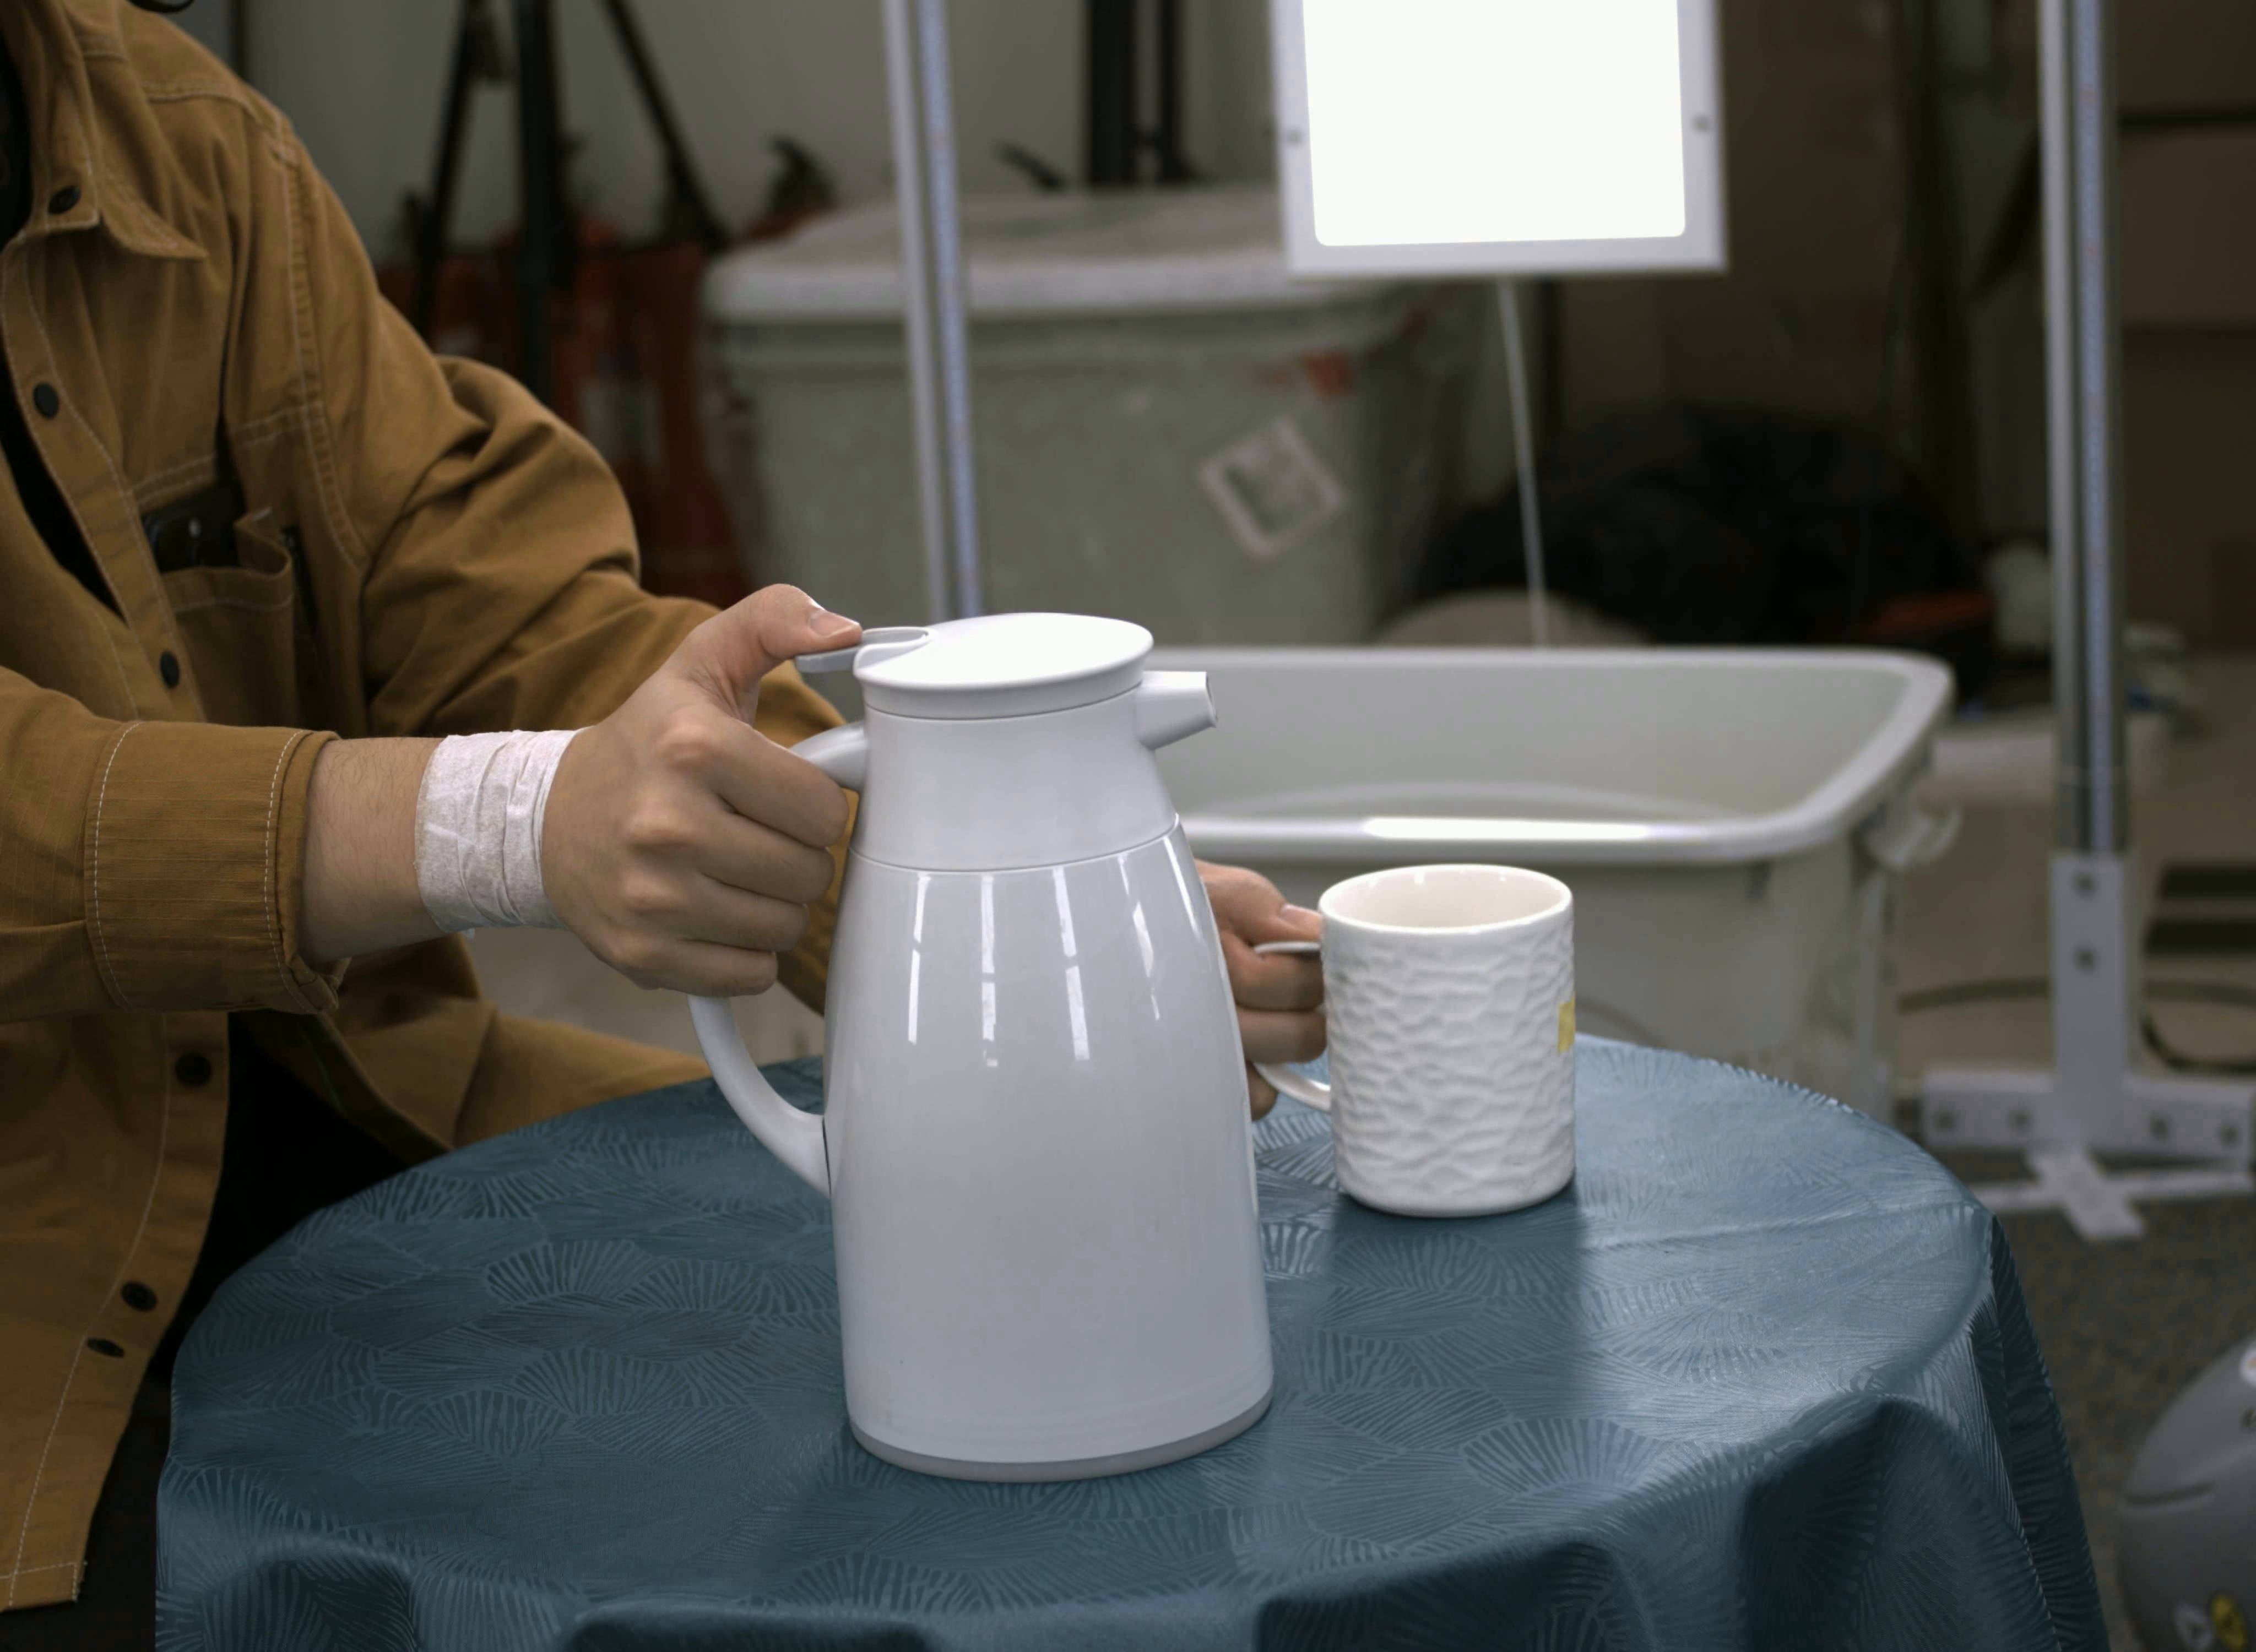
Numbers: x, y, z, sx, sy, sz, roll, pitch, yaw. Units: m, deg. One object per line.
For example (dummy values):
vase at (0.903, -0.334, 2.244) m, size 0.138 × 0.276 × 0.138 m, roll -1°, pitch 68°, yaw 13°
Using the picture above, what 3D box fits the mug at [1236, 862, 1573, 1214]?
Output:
mug at (0.094, 0.071, 1.868) m, size 0.120 × 0.102 × 0.083 m, roll 3°, pitch 15°, yaw 22°

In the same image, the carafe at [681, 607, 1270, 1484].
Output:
carafe at (-0.049, 0.061, 1.663) m, size 0.167 × 0.249 × 0.132 m, roll -4°, pitch 14°, yaw 3°
